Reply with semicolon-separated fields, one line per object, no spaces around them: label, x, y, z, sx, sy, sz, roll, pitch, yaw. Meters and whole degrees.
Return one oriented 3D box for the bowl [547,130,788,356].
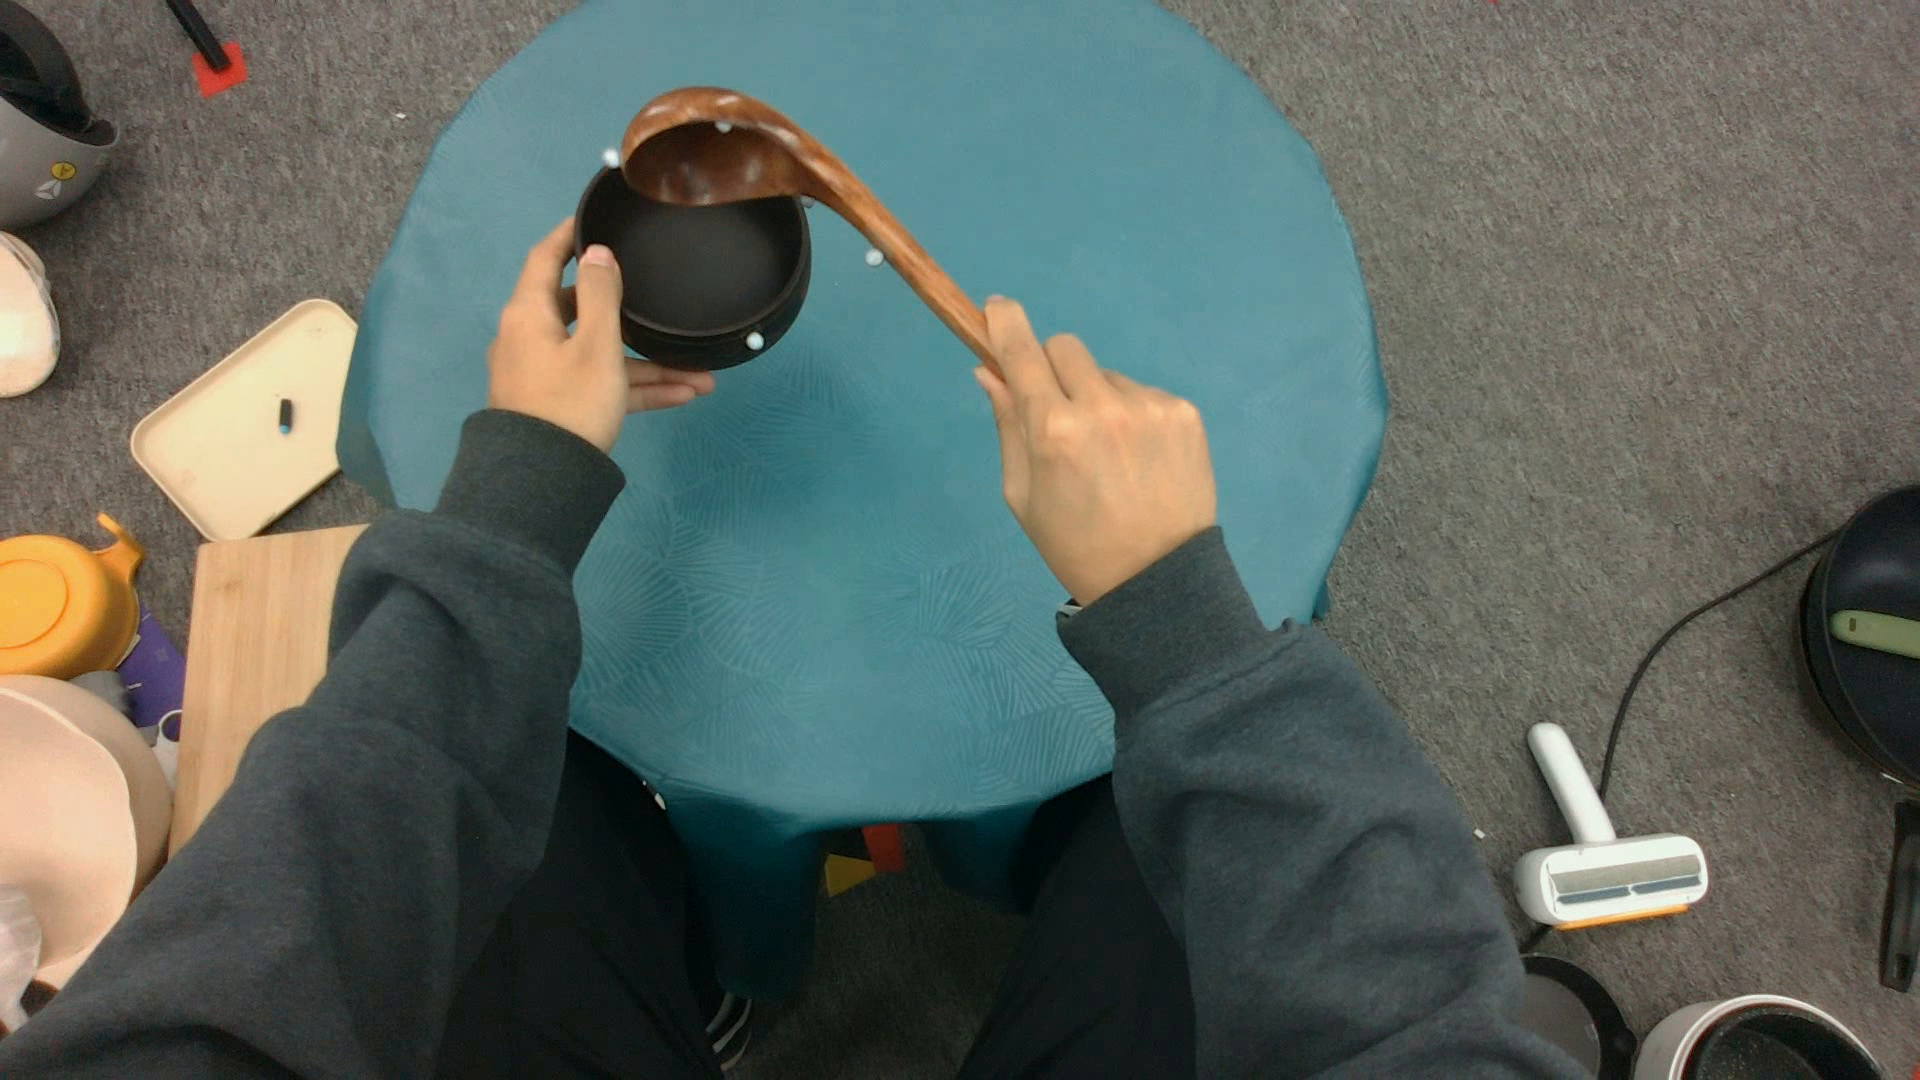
bowl;-0.148;-0.147;0.705;0.118;0.069;0.118;3;70;-7

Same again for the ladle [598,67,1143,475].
ladle;-0.043;-0.106;0.600;0.077;0.082;0.274;-44;85;-7
